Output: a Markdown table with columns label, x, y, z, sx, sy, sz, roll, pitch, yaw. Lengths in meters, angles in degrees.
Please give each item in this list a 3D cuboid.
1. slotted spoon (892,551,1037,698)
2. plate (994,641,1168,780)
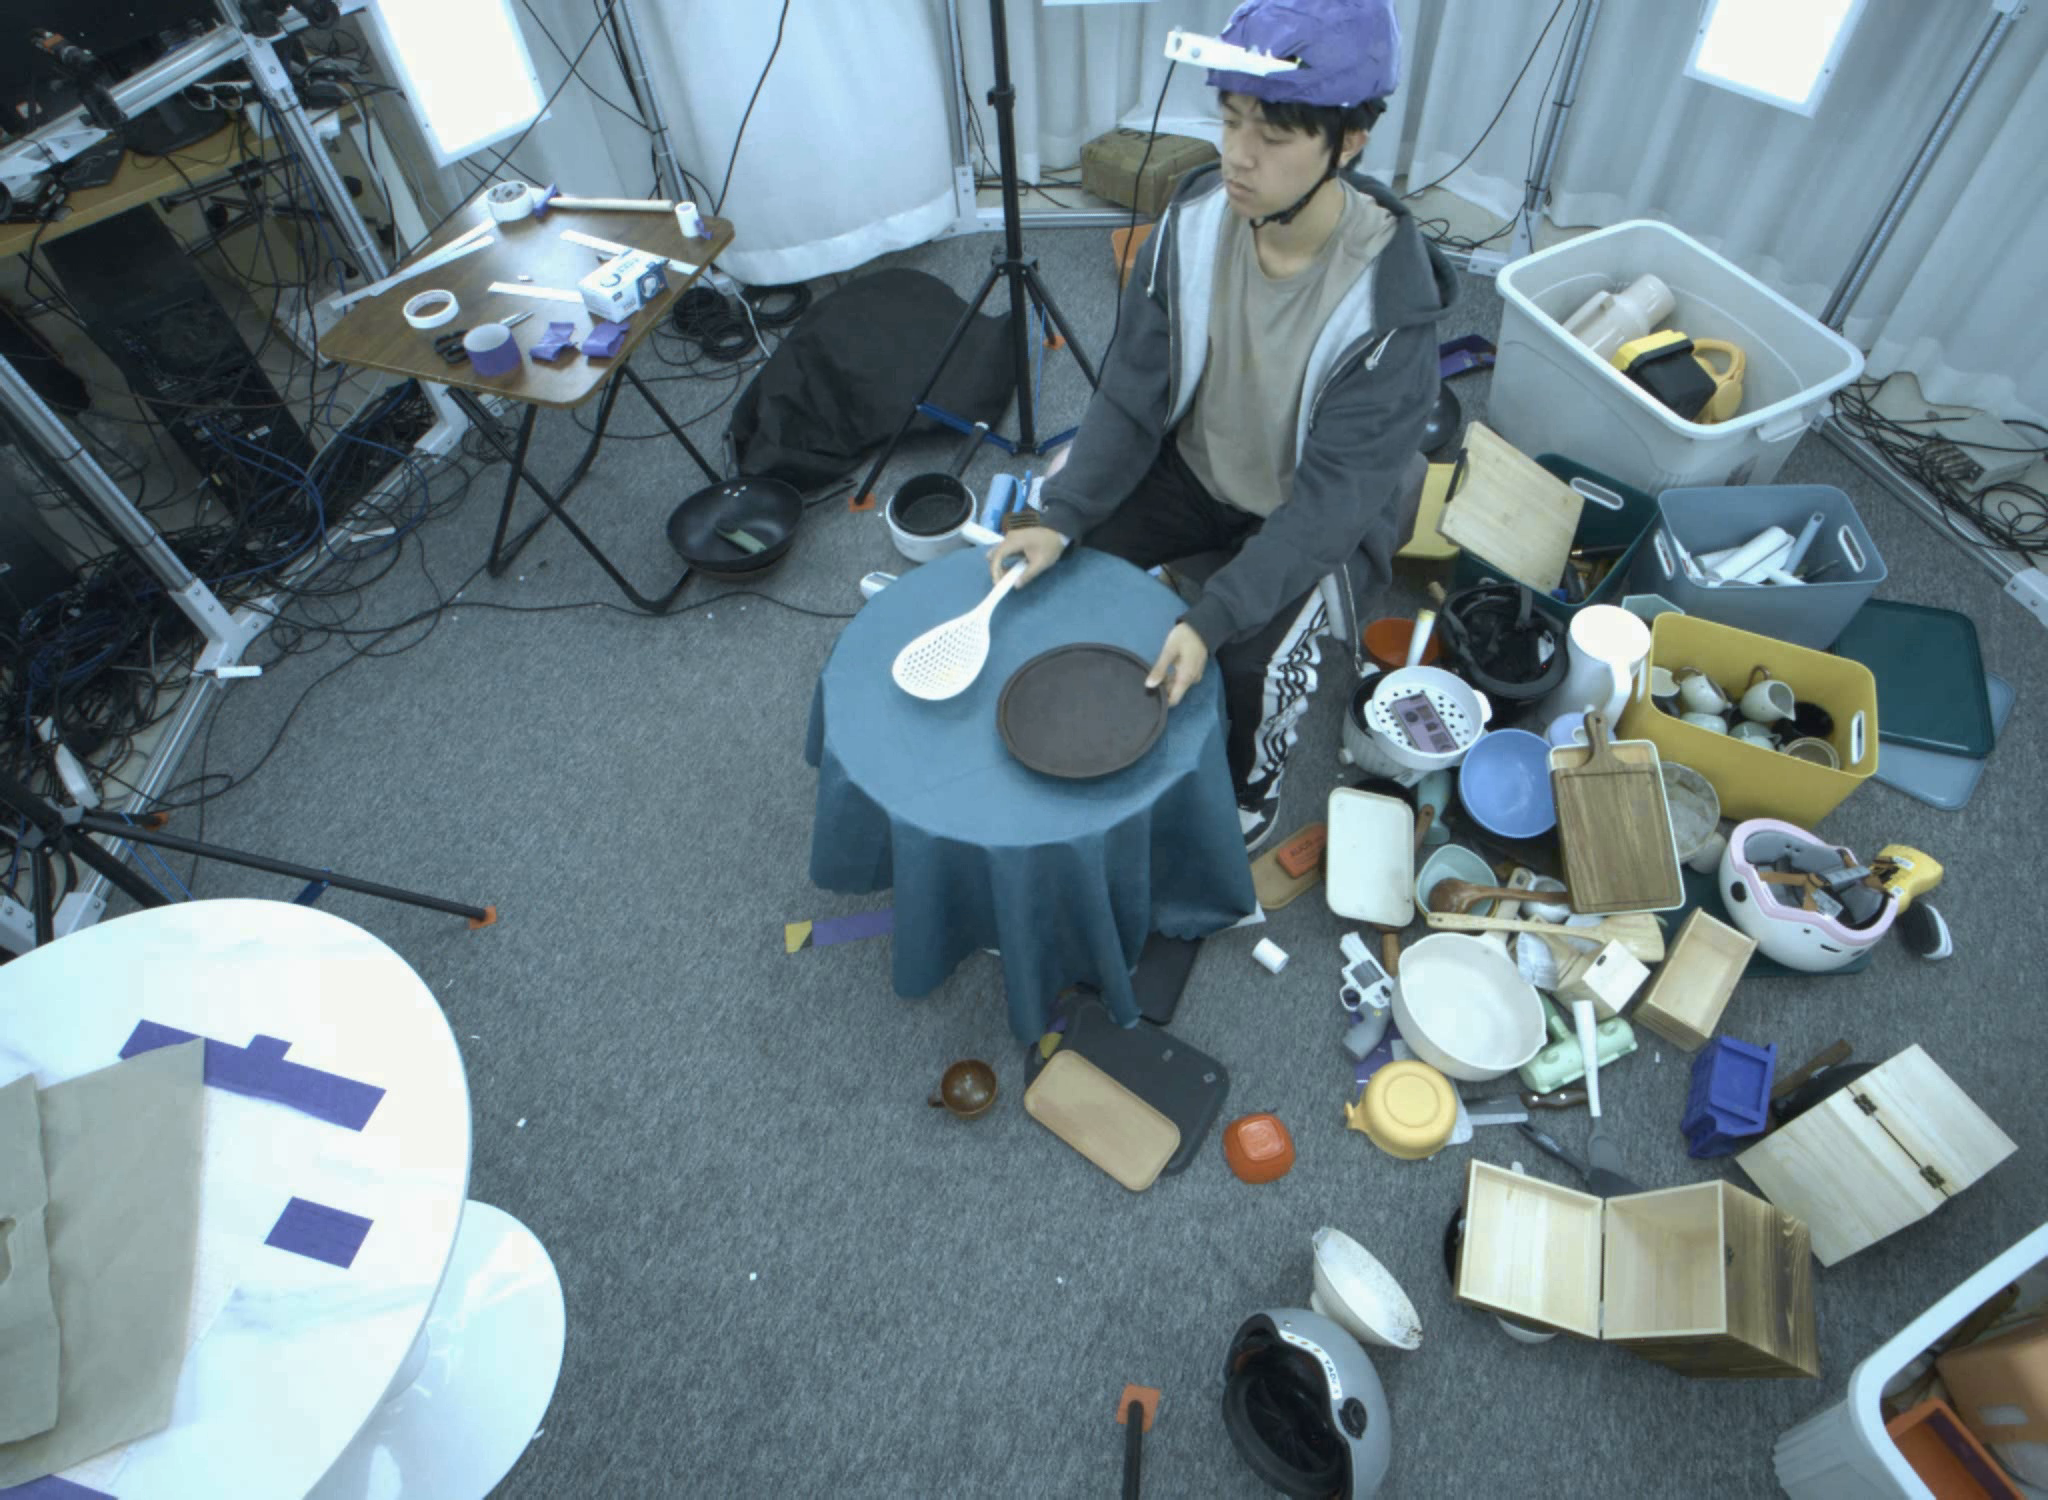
| label | x | y | z | sx | sy | sz | roll | pitch | yaw |
| --- | --- | --- | --- | --- | --- | --- | --- | --- | --- |
| slotted spoon | -0.070 | -0.202 | 1.900 | 0.134 | 0.051 | 0.348 | 21 | 62 | 26 |
| plate | 0.083 | -0.059 | 1.793 | 0.254 | 0.029 | 0.252 | -3 | 53 | 5 |
